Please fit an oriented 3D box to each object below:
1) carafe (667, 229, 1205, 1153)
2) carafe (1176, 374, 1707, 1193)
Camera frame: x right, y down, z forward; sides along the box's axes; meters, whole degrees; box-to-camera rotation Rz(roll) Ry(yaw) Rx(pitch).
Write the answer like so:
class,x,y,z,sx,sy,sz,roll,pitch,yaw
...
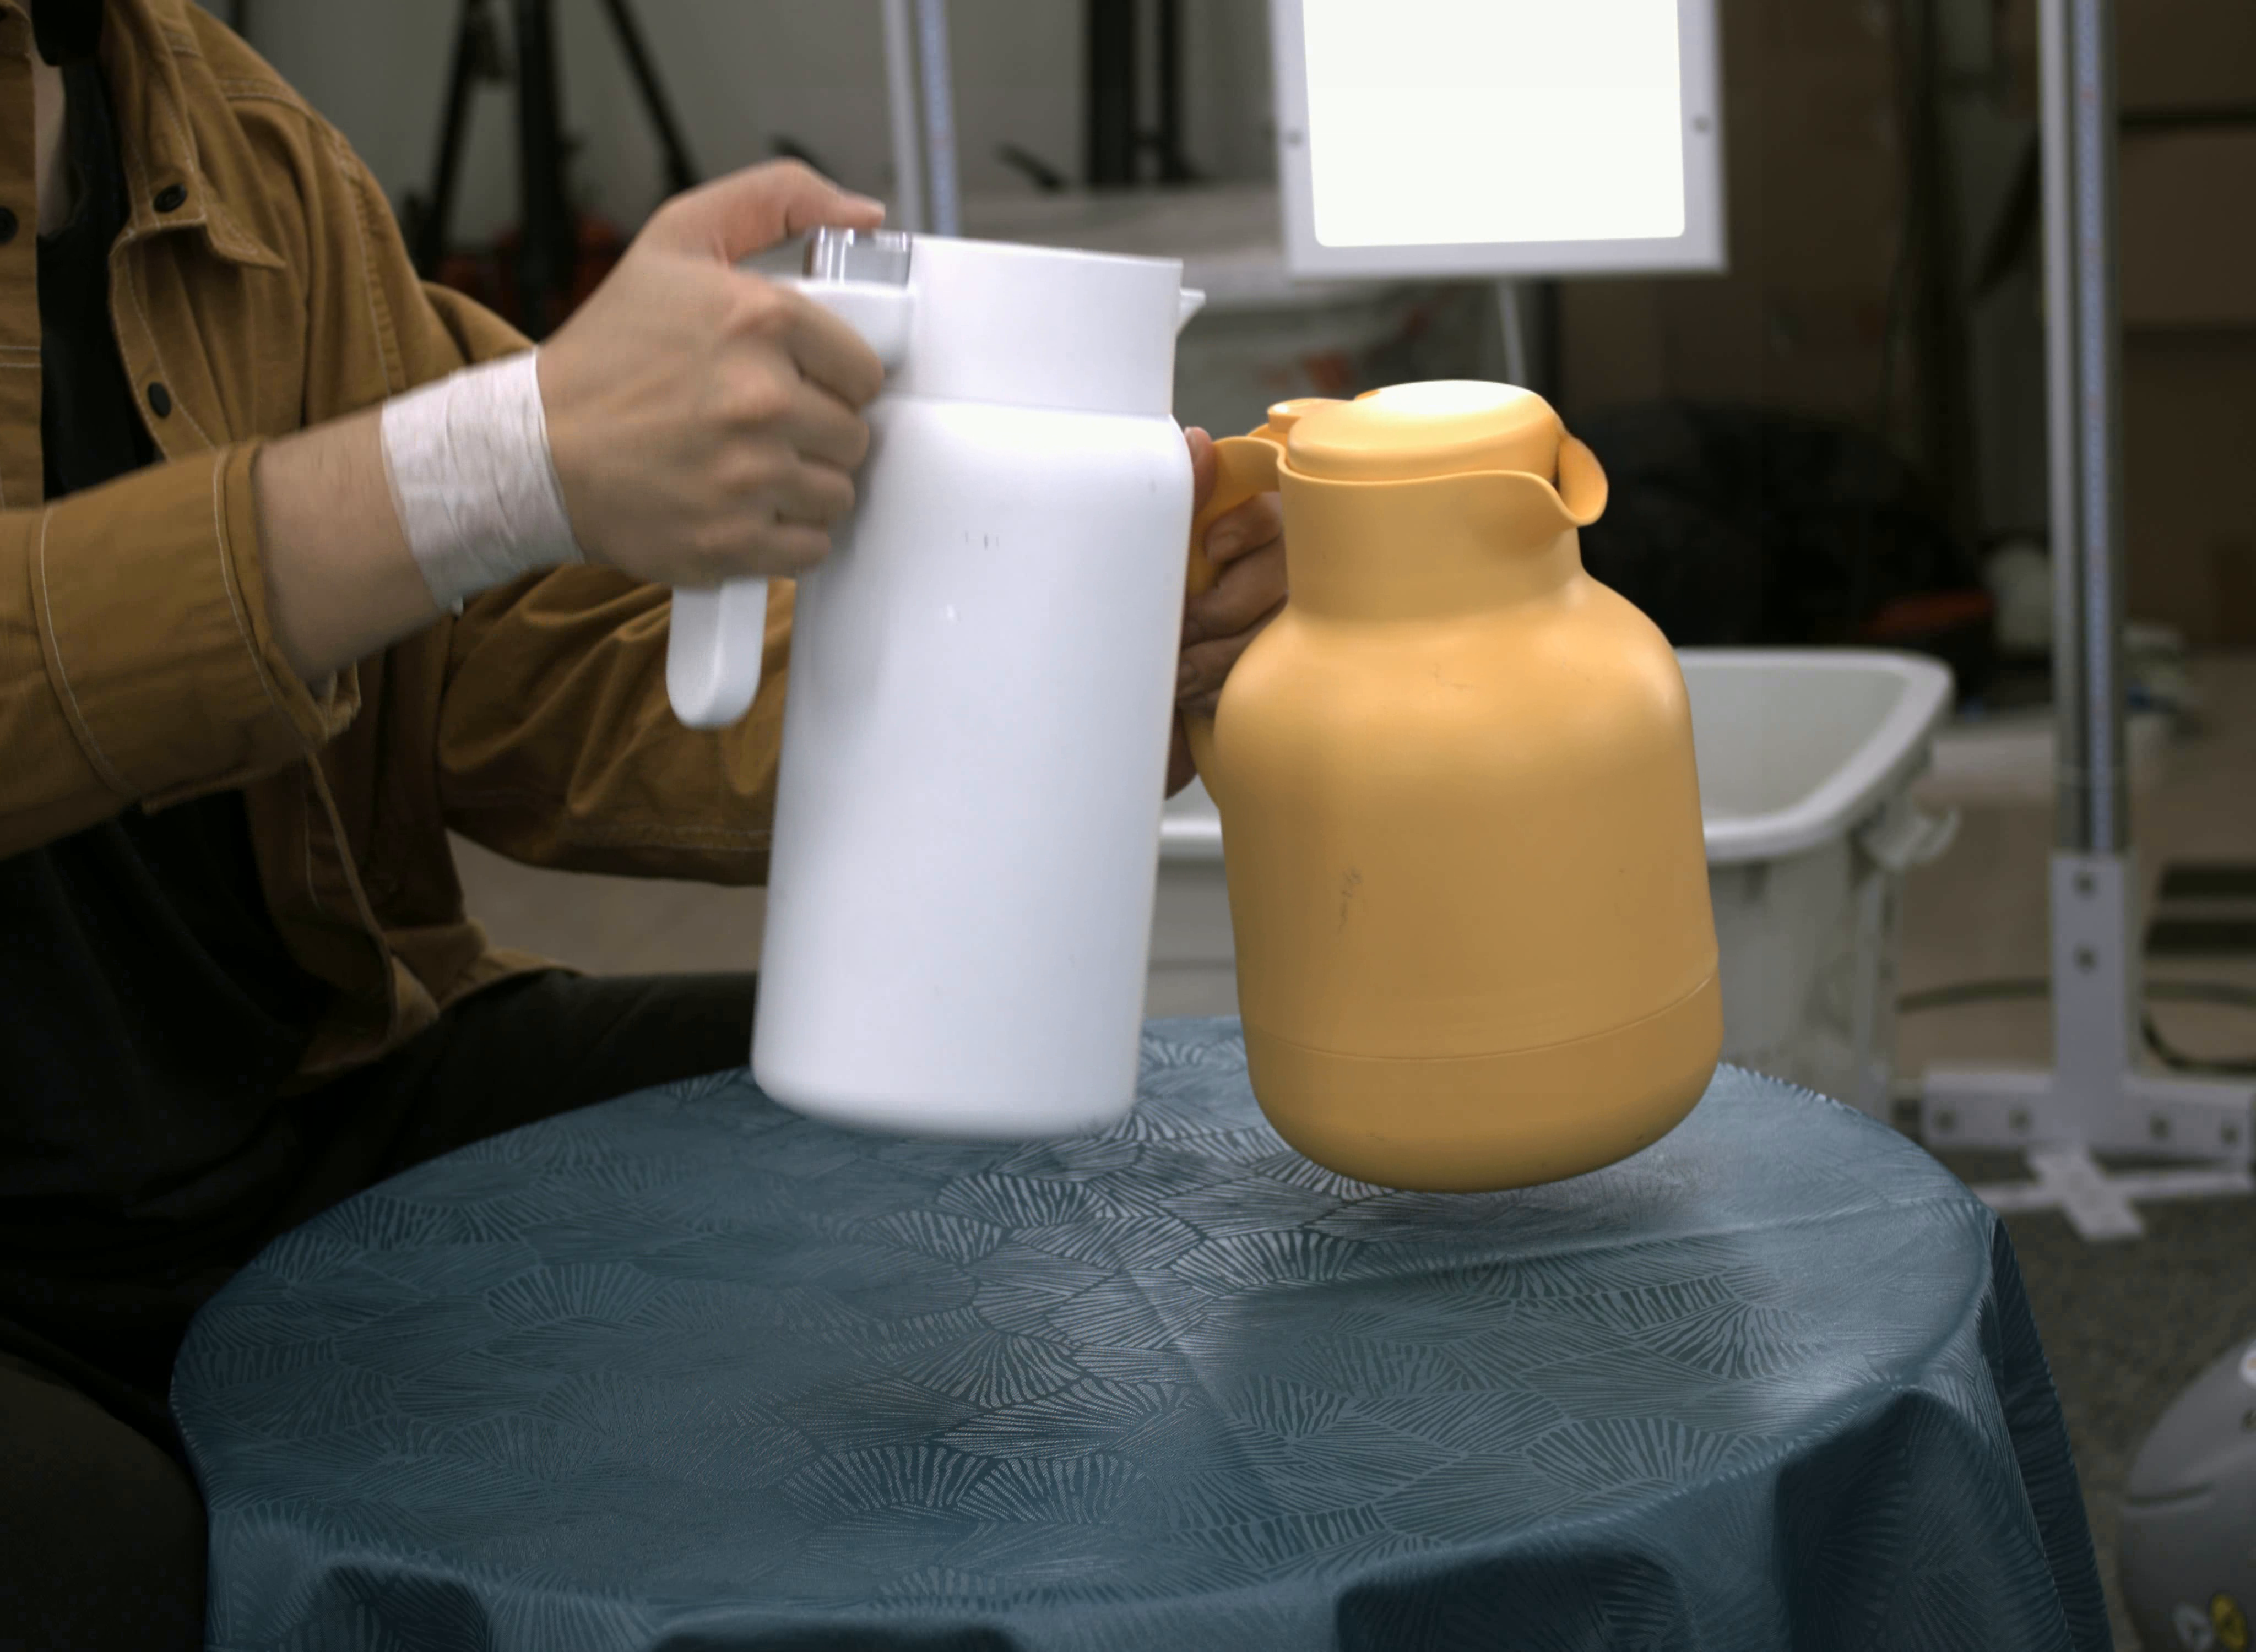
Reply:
class,x,y,z,sx,sy,sz,roll,pitch,yaw
carafe,-0.057,-0.041,1.649,0.168,0.270,0.126,0,11,-35
carafe,0.096,-0.022,1.848,0.159,0.261,0.206,-17,21,-36
